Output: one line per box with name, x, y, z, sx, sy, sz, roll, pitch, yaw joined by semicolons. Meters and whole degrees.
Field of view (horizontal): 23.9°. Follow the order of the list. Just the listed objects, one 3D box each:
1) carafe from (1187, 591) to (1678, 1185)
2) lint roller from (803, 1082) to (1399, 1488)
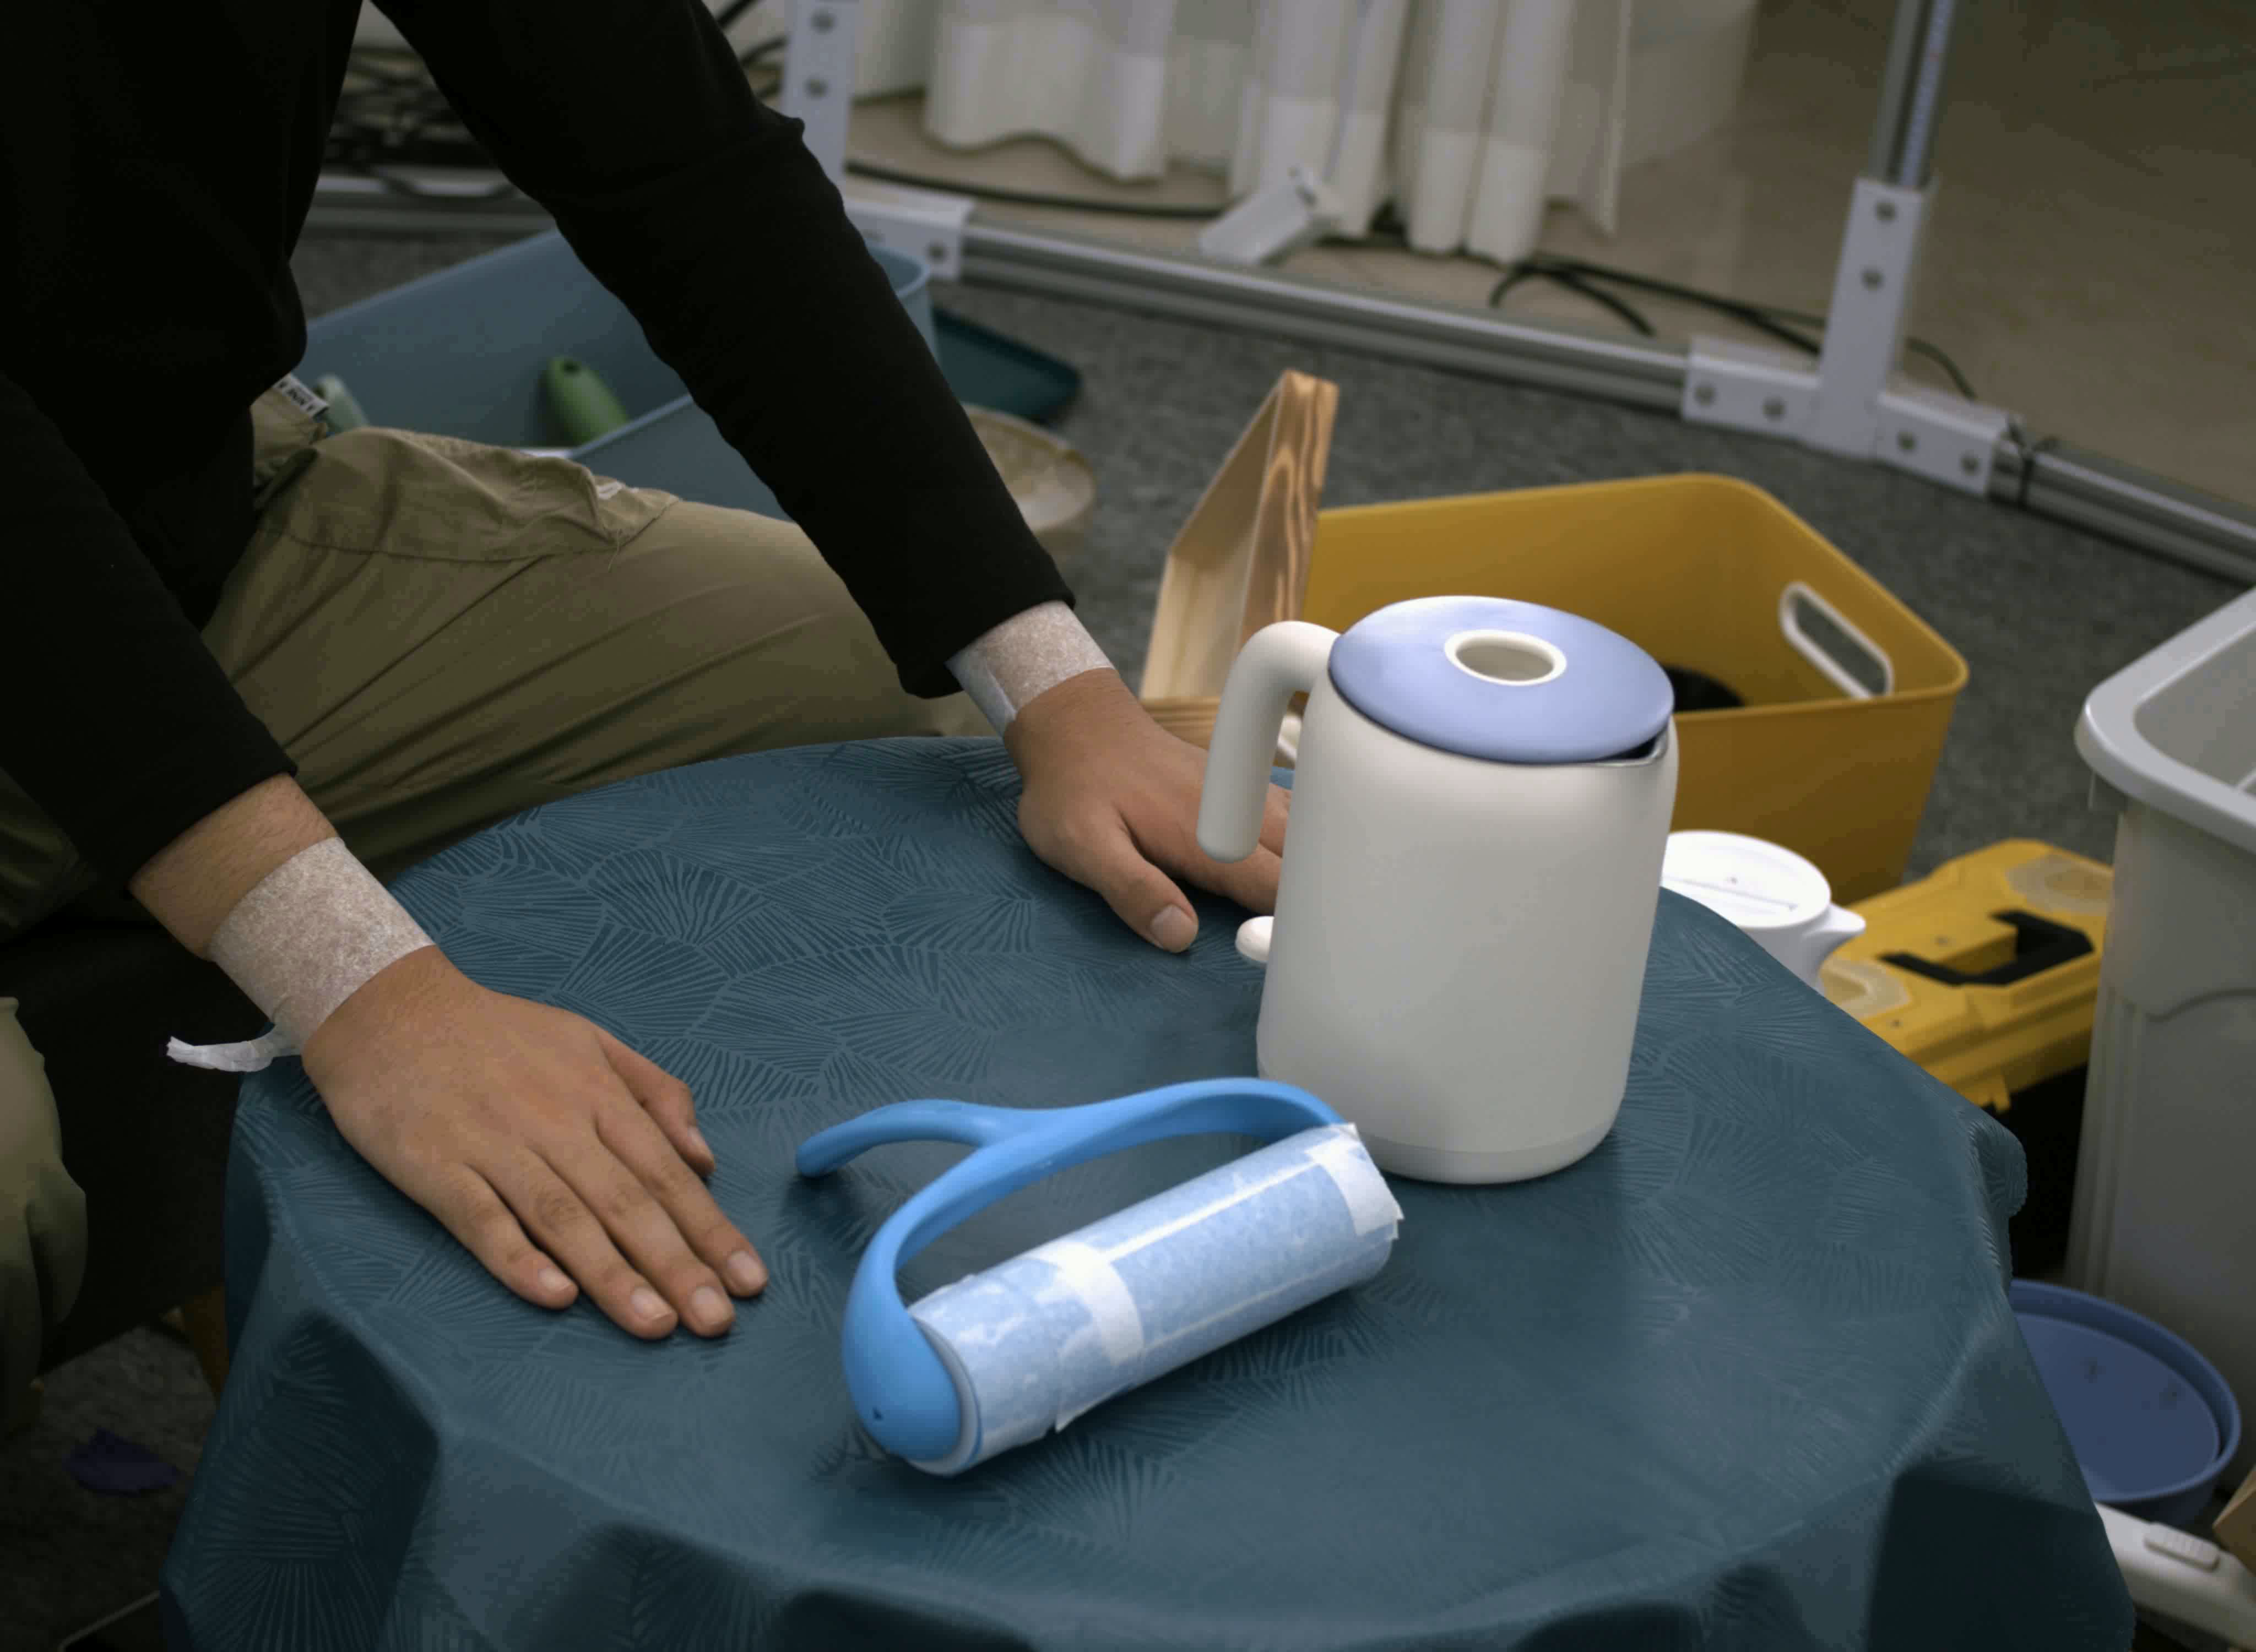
carafe;0.099;0.012;1.854;0.192;0.182;0.131;24;31;35
lint roller;-0.040;0.124;1.726;0.181;0.067;0.228;31;38;33
